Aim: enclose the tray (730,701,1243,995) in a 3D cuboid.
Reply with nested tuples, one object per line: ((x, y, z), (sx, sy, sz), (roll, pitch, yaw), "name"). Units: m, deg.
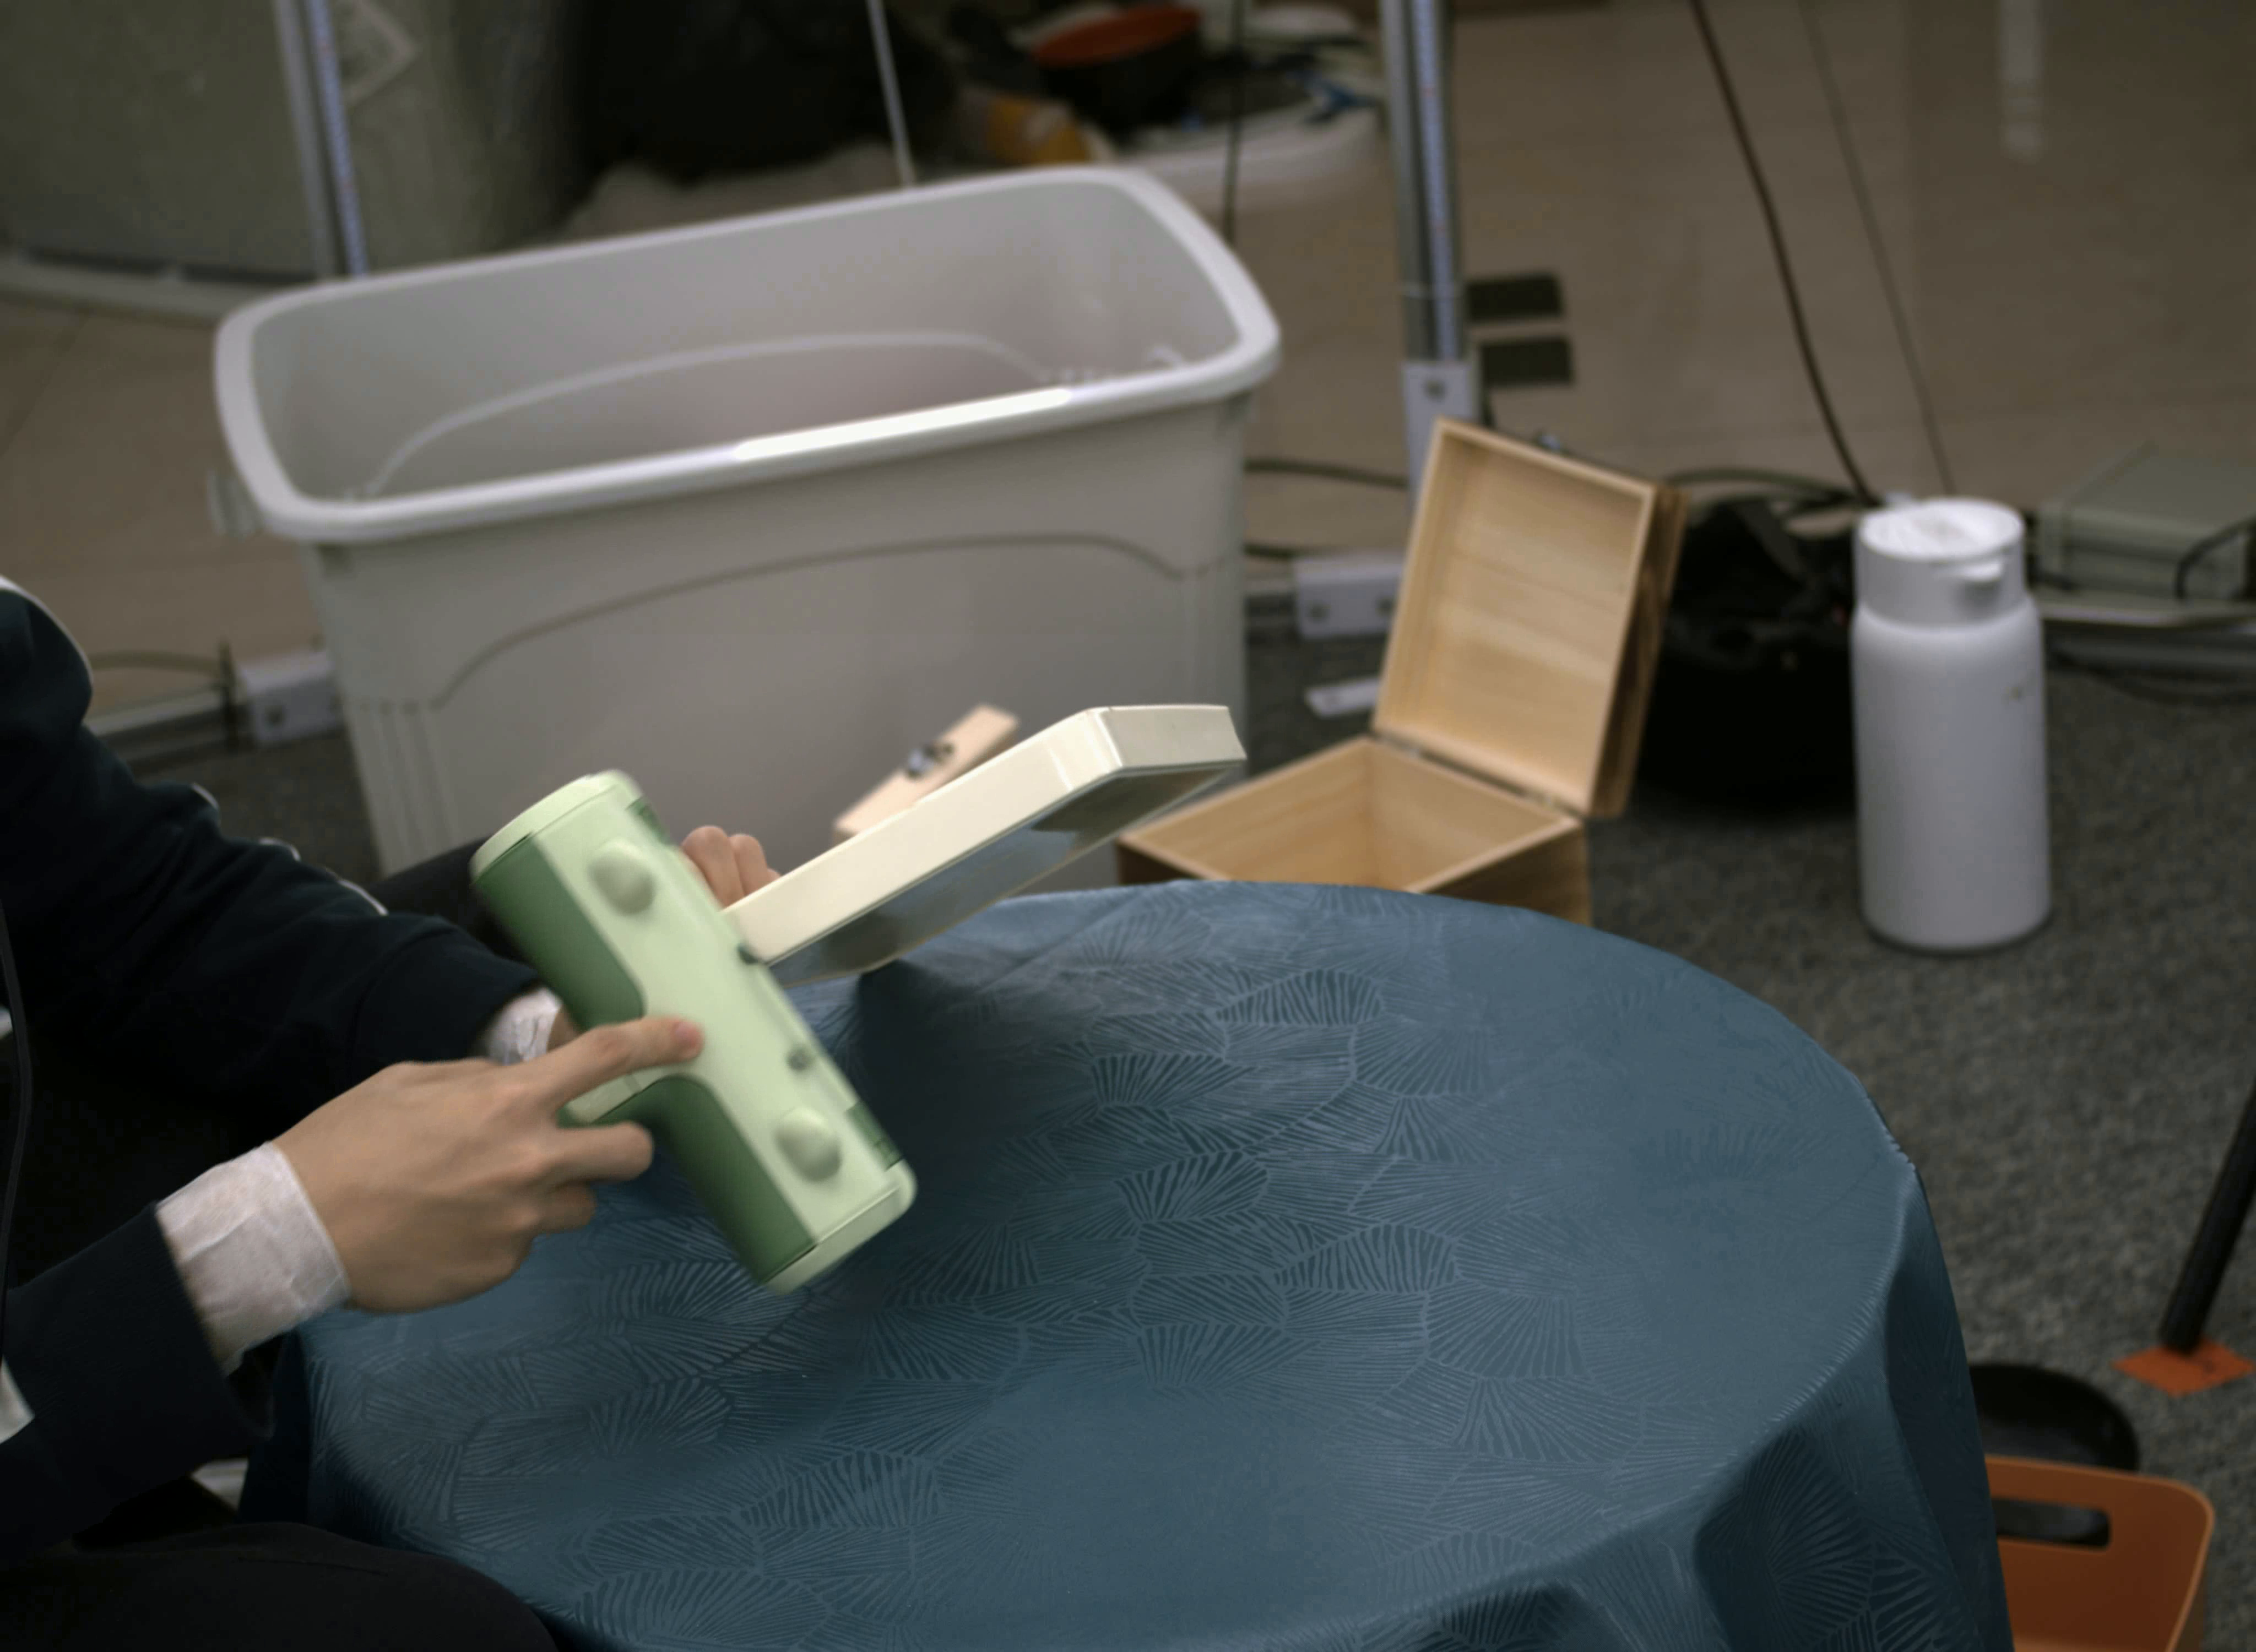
((-0.063, 0.010, 2.186), (0.192, 0.027, 0.300), (-30, -4, 11), "tray")

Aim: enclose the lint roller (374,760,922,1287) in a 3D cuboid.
((-0.183, 0.089, 1.984), (0.181, 0.198, 0.083), (-34, -1, -42), "lint roller")
